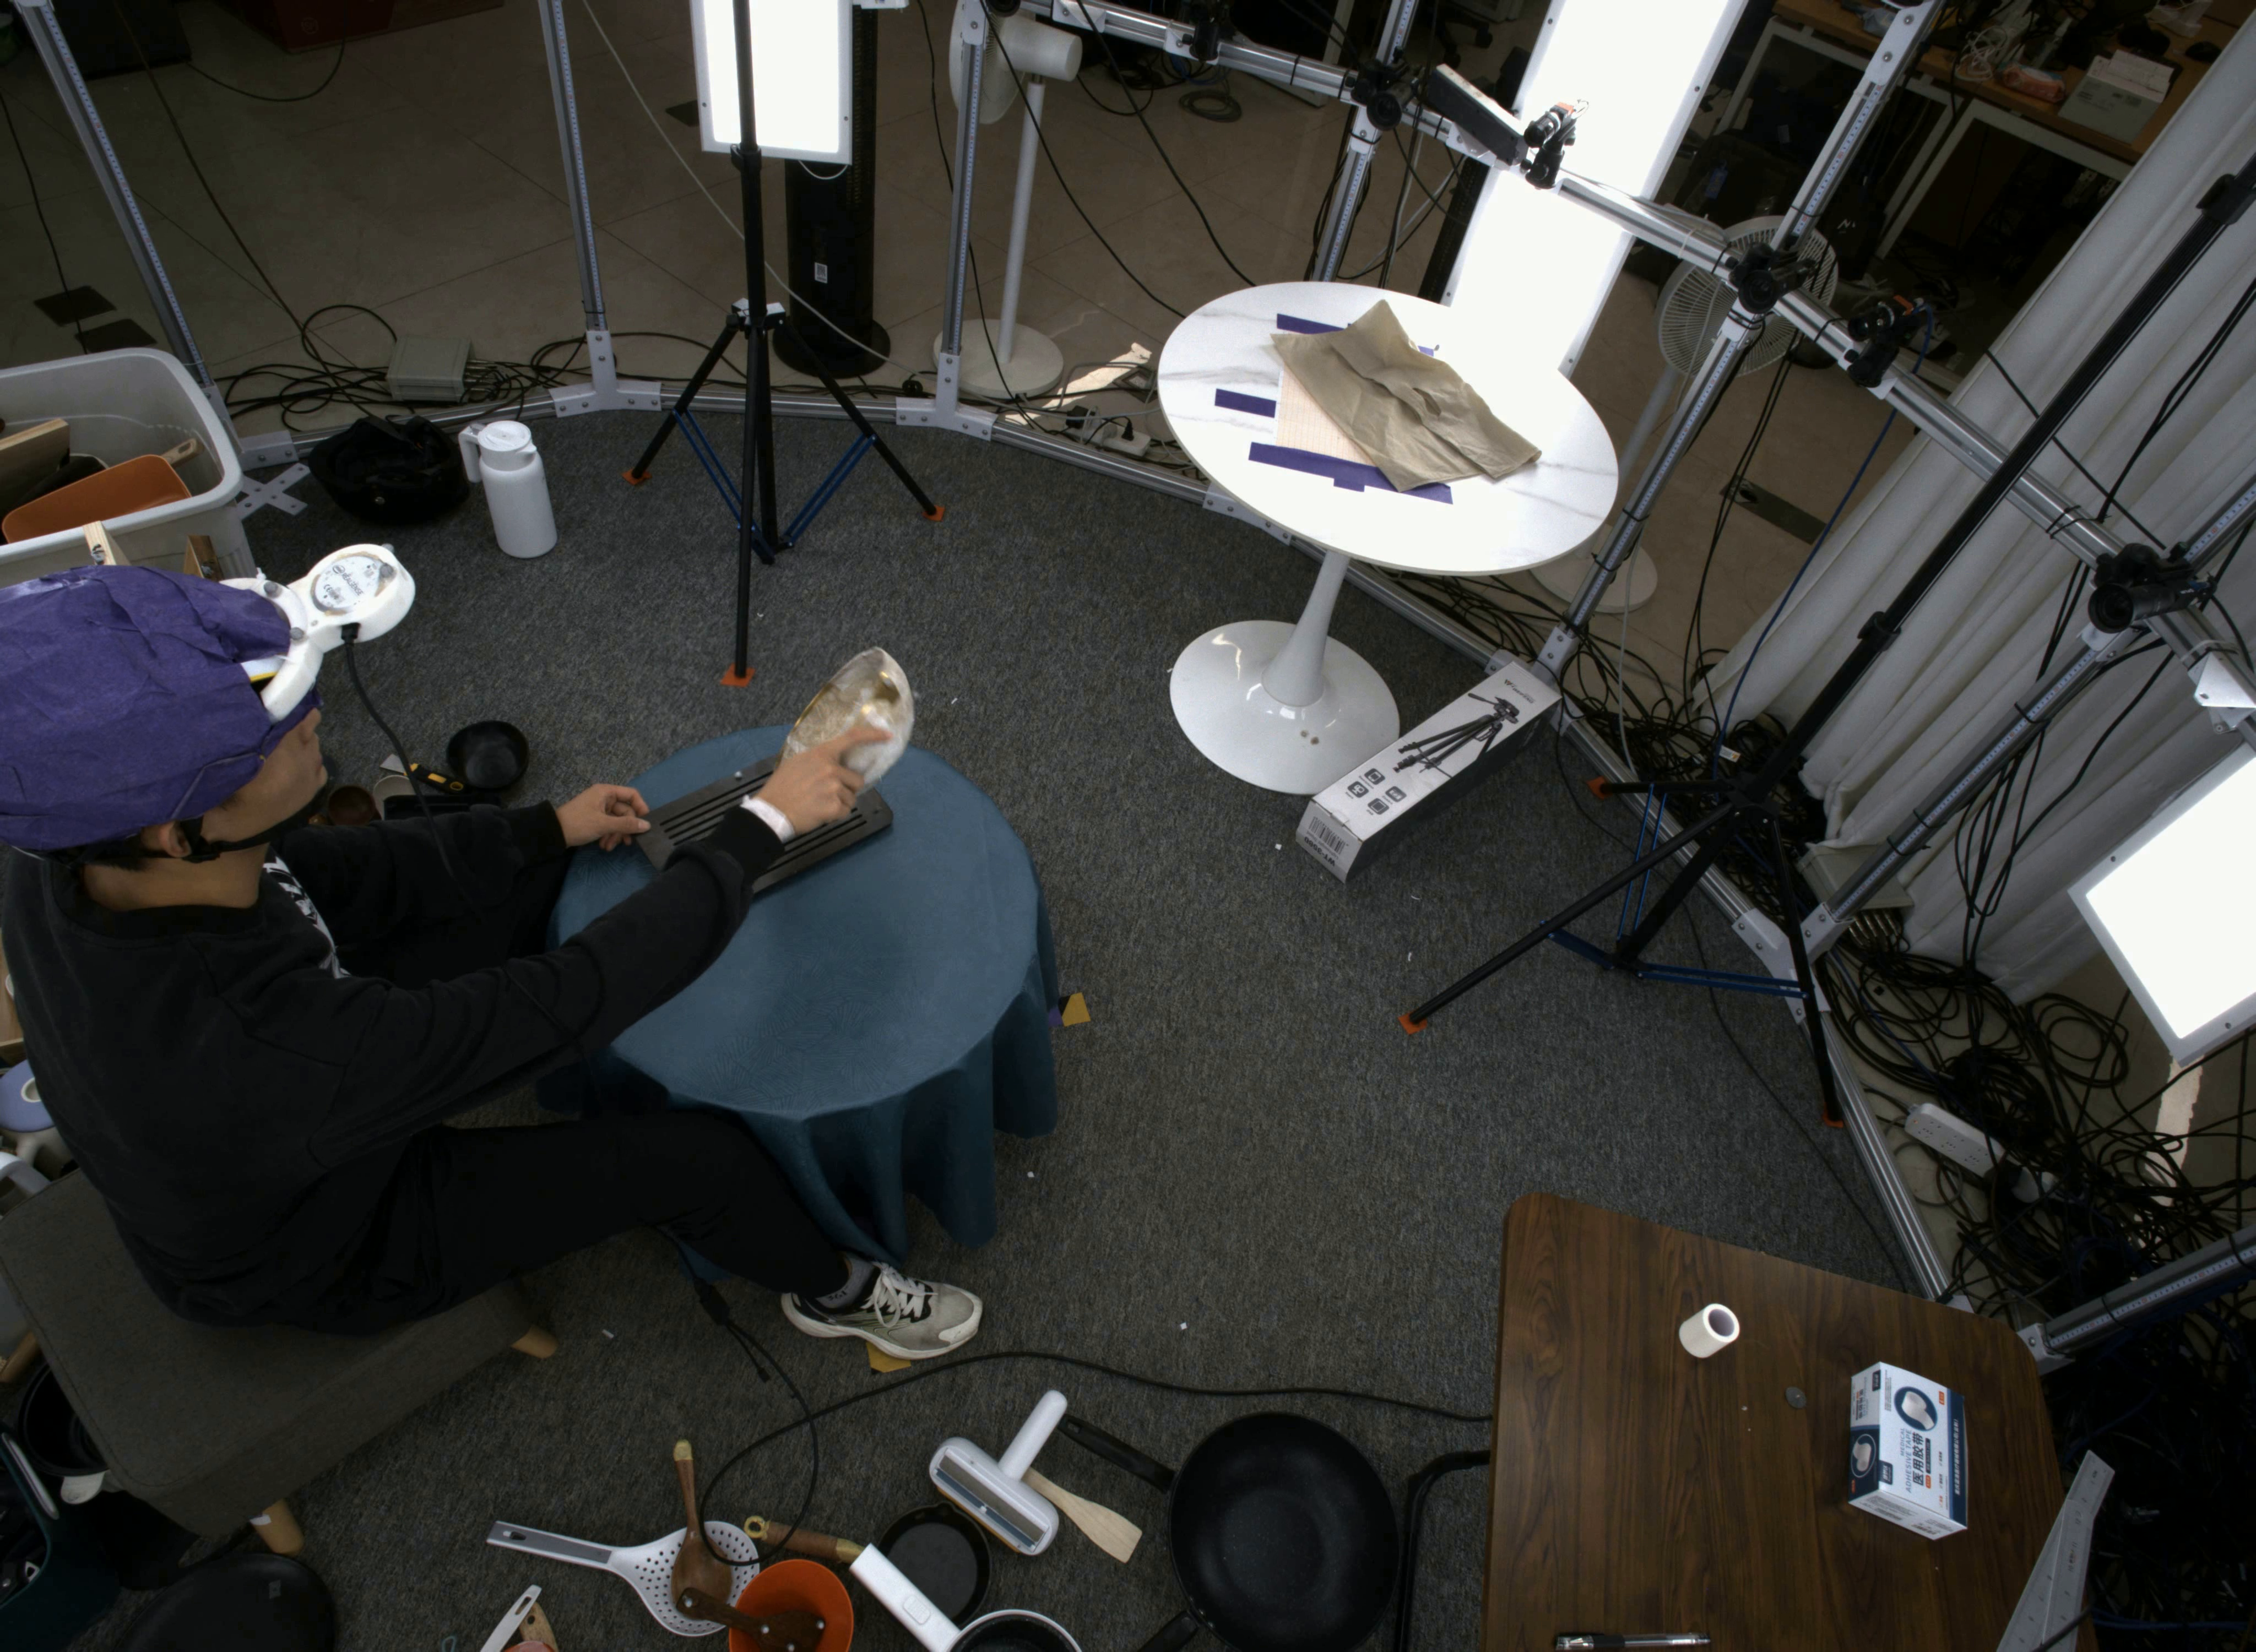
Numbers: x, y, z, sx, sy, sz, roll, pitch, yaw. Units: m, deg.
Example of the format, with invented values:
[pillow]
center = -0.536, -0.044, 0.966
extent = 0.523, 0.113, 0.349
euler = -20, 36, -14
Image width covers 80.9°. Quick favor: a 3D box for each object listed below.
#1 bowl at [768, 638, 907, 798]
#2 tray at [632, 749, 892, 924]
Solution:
[bowl]
center = -0.327, -0.108, 1.525
extent = 0.097, 0.211, 0.211
euler = 37, 44, -28
[tray]
center = -0.477, -0.004, 1.695
extent = 0.307, 0.019, 0.167
euler = -30, 74, -31
